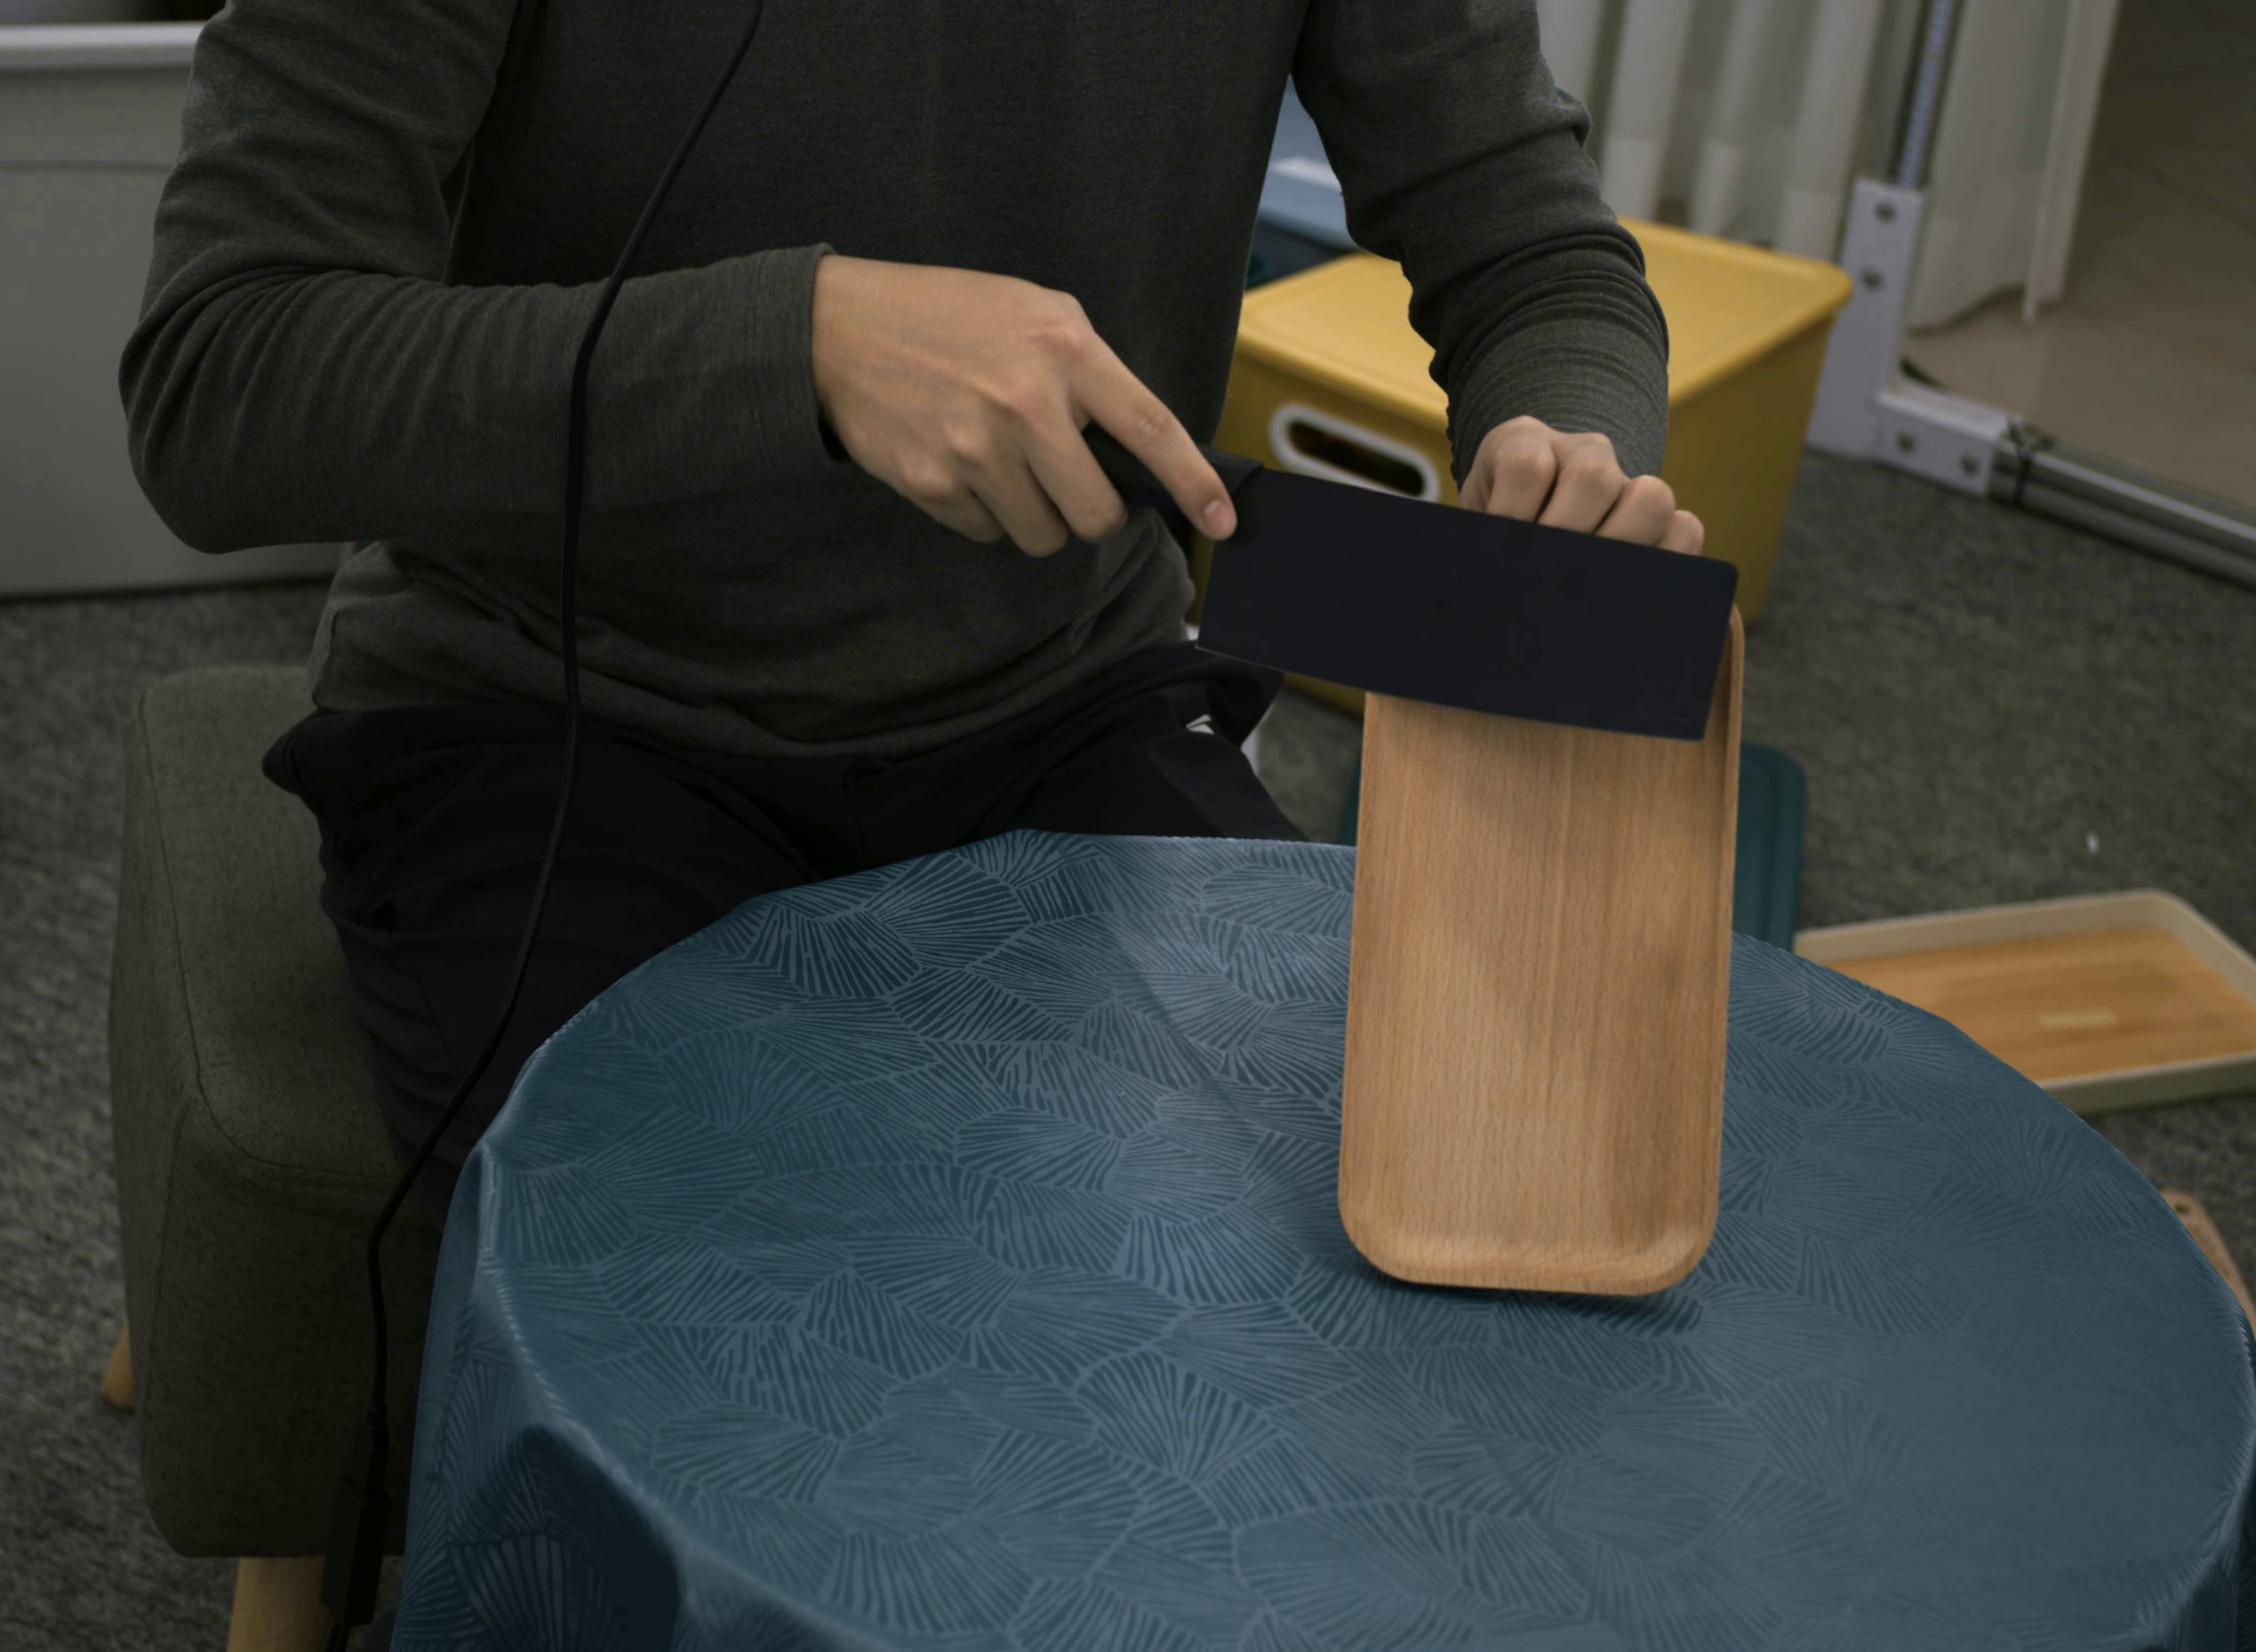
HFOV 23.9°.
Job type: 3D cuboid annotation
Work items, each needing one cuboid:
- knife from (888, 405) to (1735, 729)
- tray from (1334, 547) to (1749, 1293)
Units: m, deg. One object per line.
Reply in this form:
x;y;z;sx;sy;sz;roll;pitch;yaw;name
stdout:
0.058;-0.091;1.801;0.303;0.081;0.021;16;4;19;knife
0.139;0.029;1.787;0.130;0.252;0.023;4;-9;0;tray
